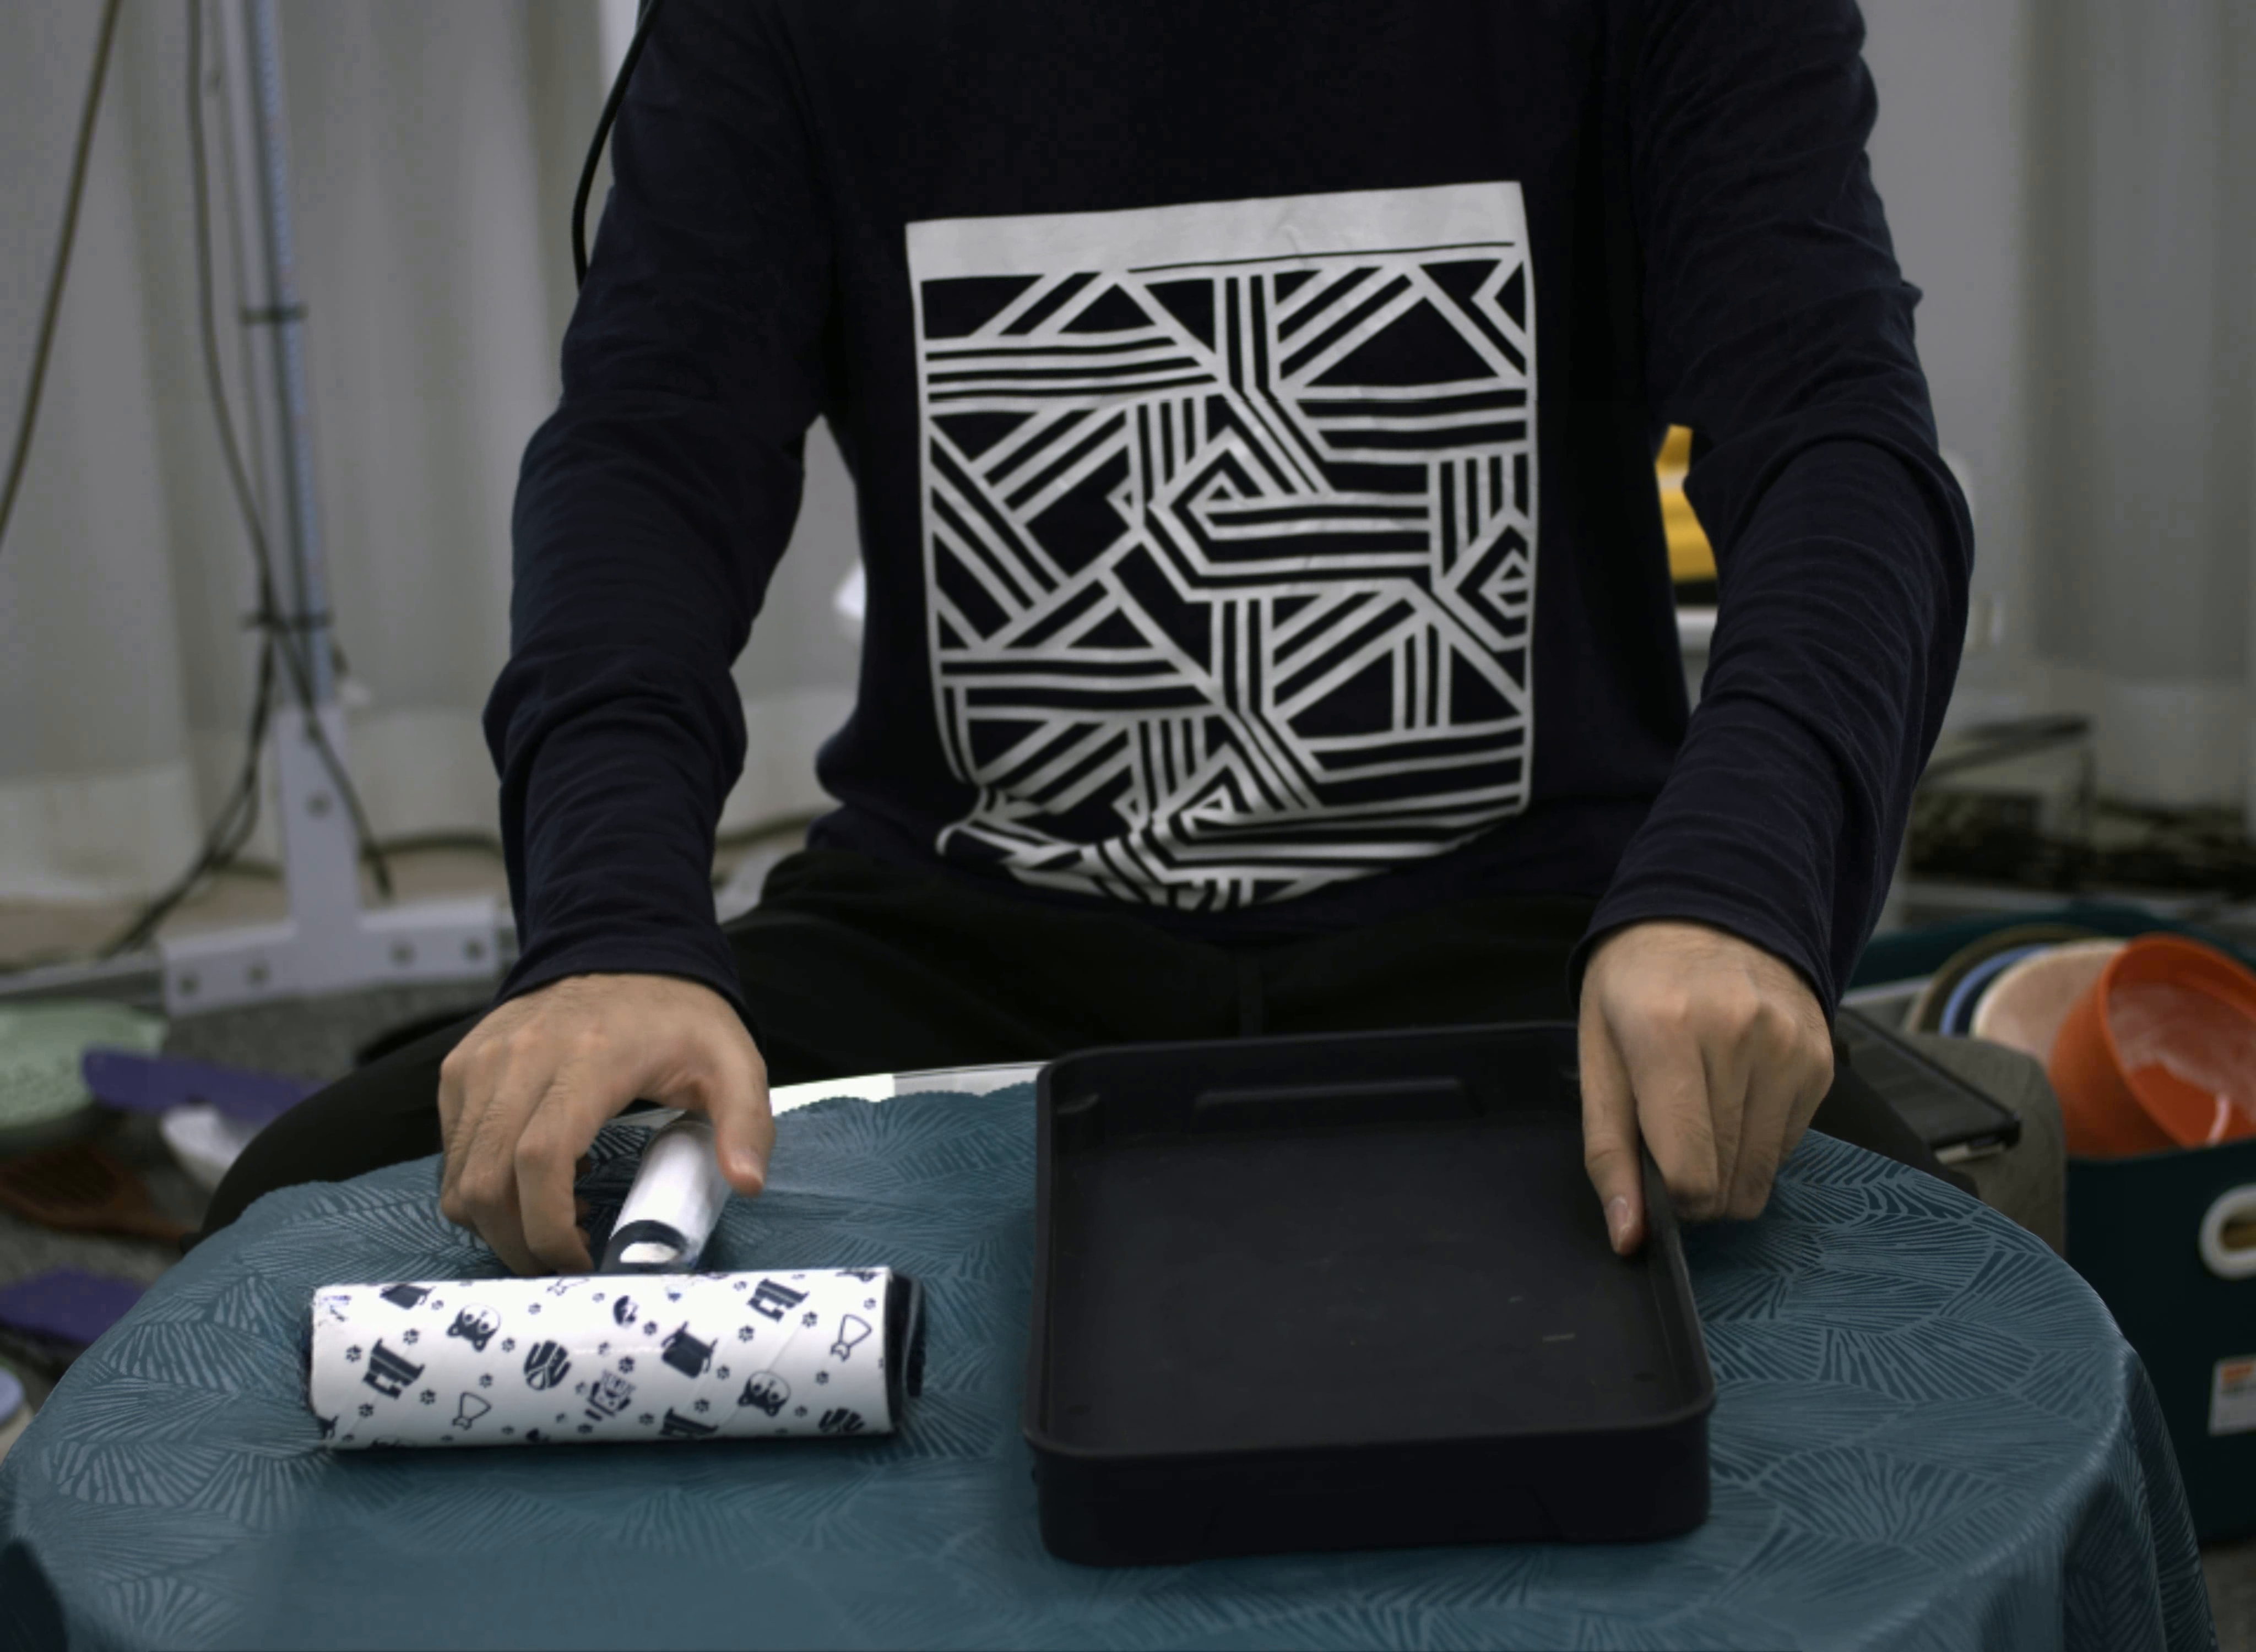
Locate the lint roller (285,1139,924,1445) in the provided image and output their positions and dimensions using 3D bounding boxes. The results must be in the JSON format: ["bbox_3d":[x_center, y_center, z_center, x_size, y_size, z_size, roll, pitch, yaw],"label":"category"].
[{"bbox_3d":[-0.143,0.126,1.624,0.176,0.050,0.248,-3,12,2],"label":"lint roller"}]

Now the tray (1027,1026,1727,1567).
[{"bbox_3d":[0.065,0.128,1.562,0.184,0.037,0.320,-3,17,1],"label":"tray"}]
